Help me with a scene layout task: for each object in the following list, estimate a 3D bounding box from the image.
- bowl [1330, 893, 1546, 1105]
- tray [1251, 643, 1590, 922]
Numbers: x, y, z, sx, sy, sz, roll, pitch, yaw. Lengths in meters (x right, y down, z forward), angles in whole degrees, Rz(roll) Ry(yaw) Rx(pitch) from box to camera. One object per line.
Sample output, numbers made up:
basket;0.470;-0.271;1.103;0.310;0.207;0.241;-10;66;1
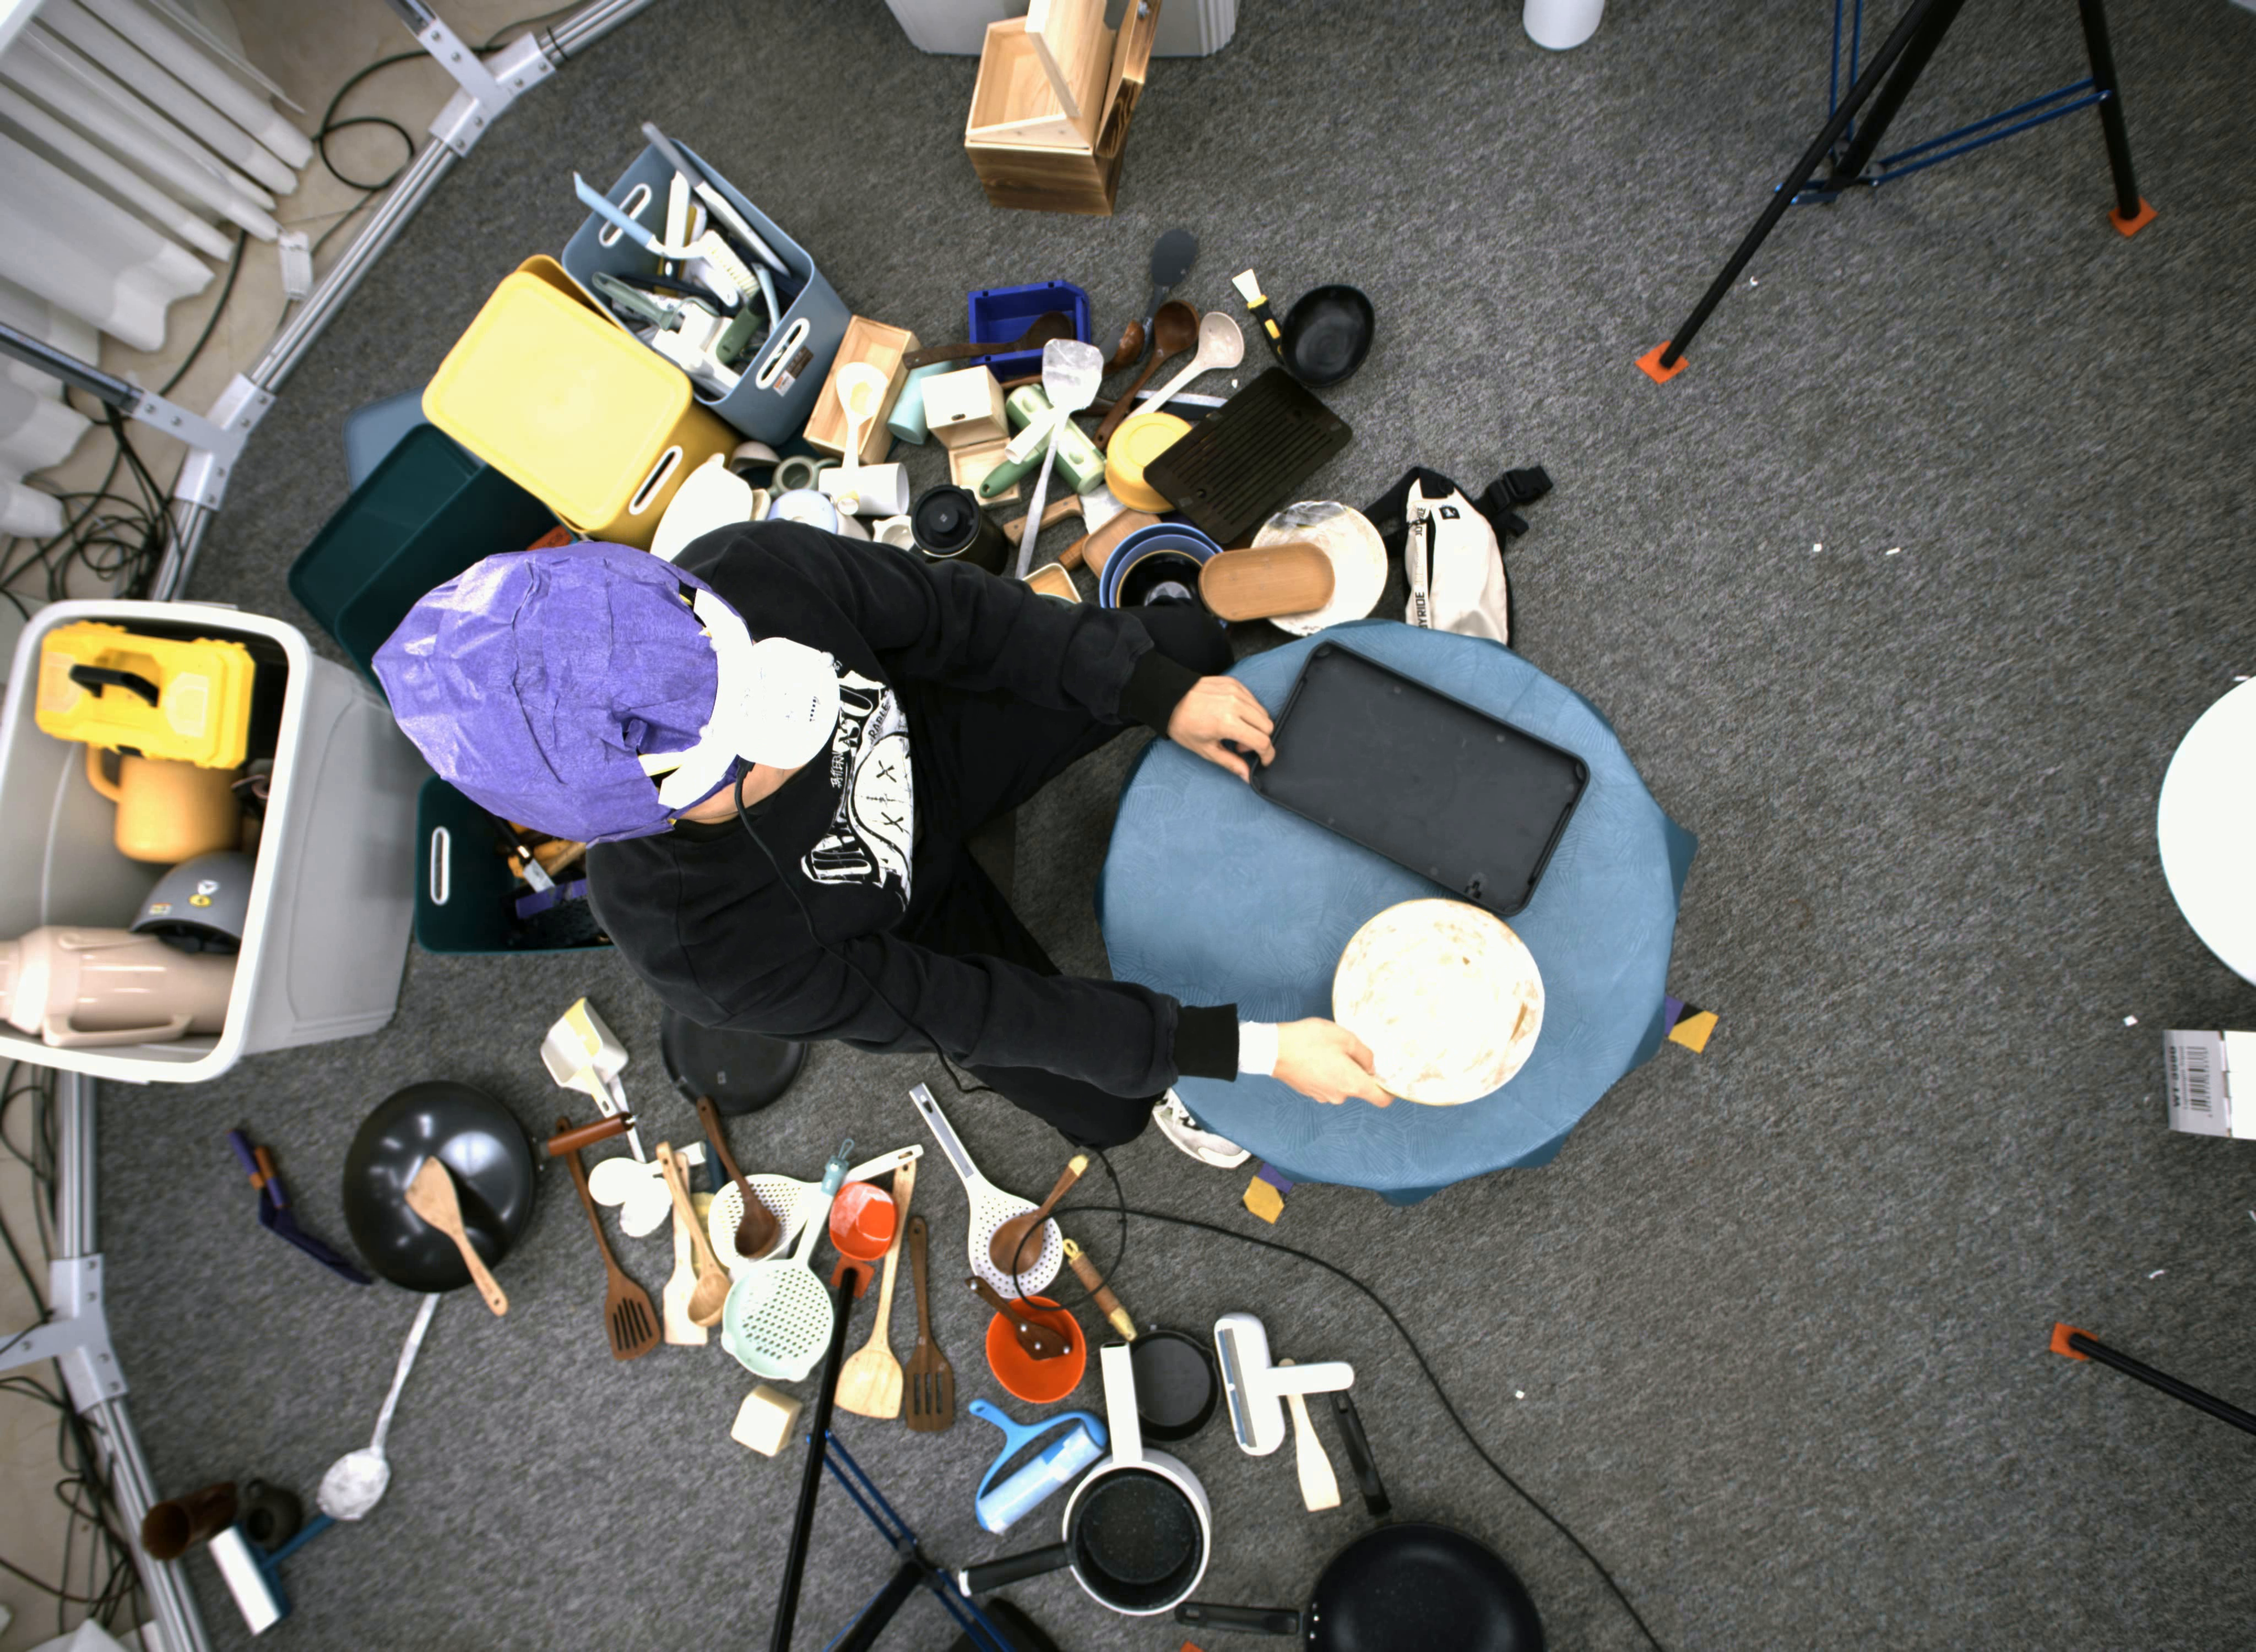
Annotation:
bowl;0.305;0.168;1.378;0.215;0.094;0.214;-1;88;11
tray;0.305;-0.048;1.449;0.317;0.037;0.184;29;90;9
